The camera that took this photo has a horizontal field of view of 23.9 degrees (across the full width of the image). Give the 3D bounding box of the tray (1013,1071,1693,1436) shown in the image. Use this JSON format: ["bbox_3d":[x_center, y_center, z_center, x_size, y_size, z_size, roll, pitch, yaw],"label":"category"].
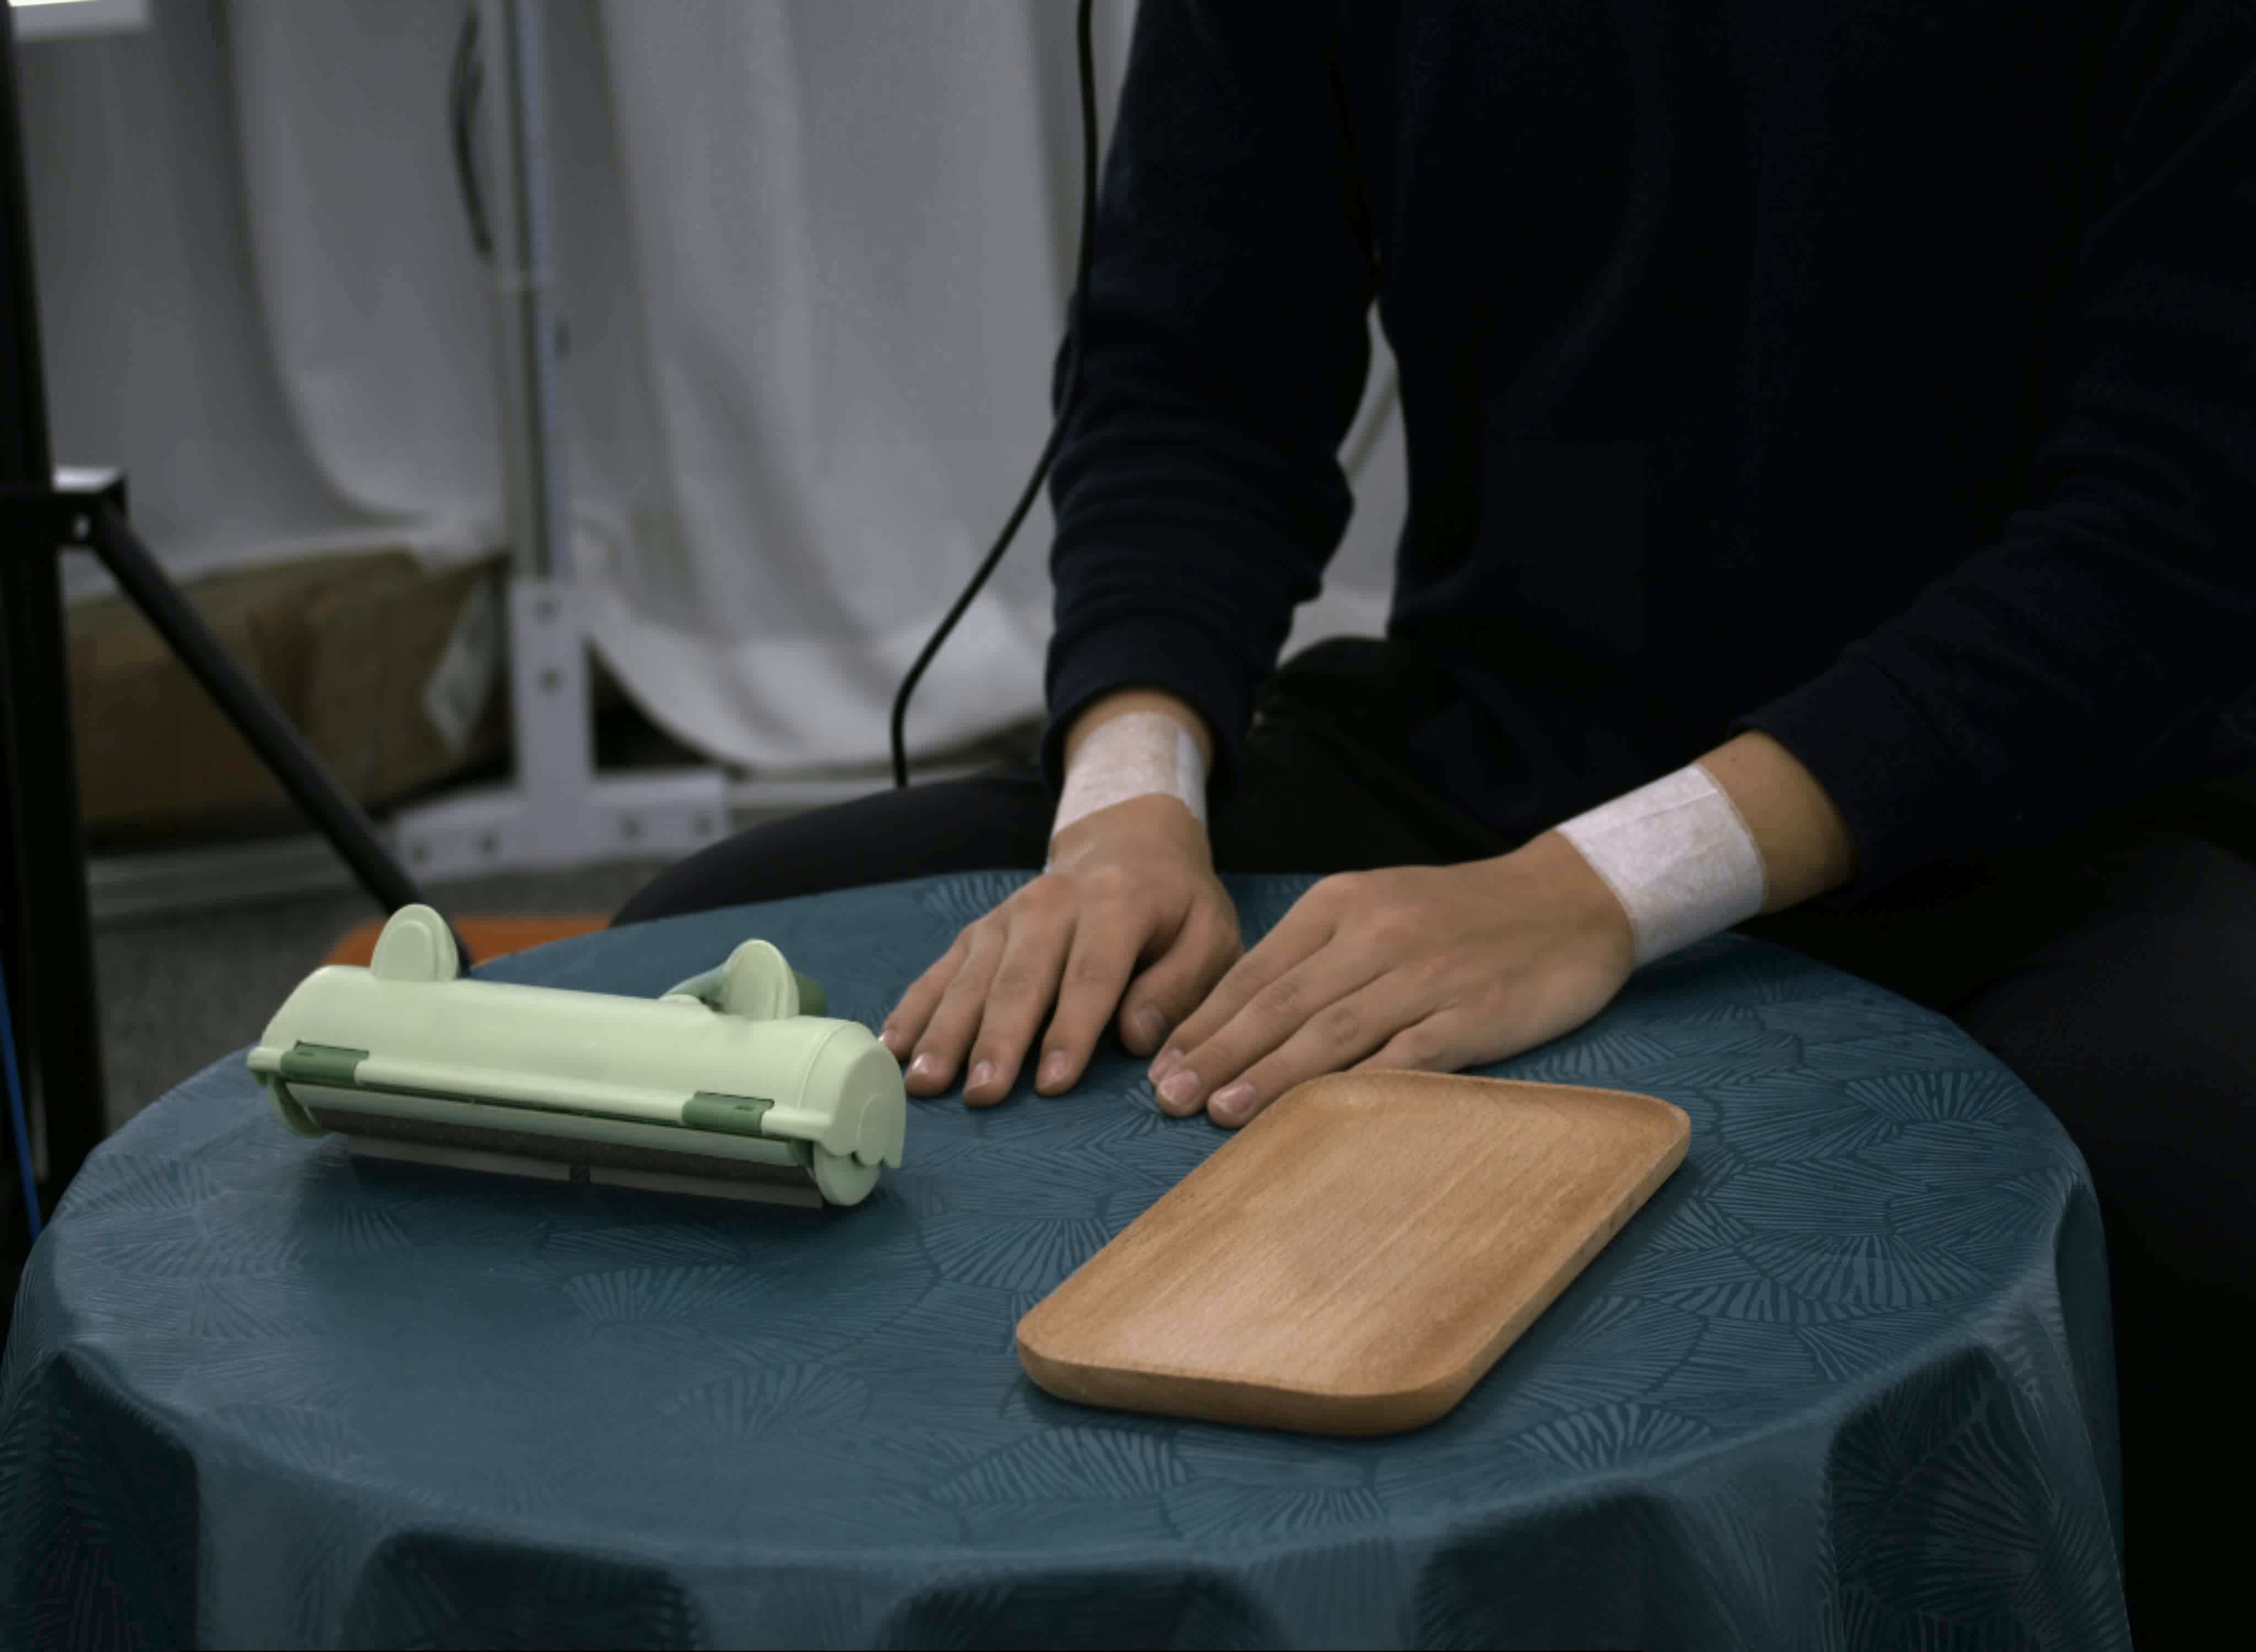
[{"bbox_3d":[0.068,0.117,1.486,0.132,0.023,0.247,7,17,23],"label":"tray"}]

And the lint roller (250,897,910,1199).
[{"bbox_3d":[-0.142,0.049,1.632,0.201,0.082,0.181,5,23,24],"label":"lint roller"}]
